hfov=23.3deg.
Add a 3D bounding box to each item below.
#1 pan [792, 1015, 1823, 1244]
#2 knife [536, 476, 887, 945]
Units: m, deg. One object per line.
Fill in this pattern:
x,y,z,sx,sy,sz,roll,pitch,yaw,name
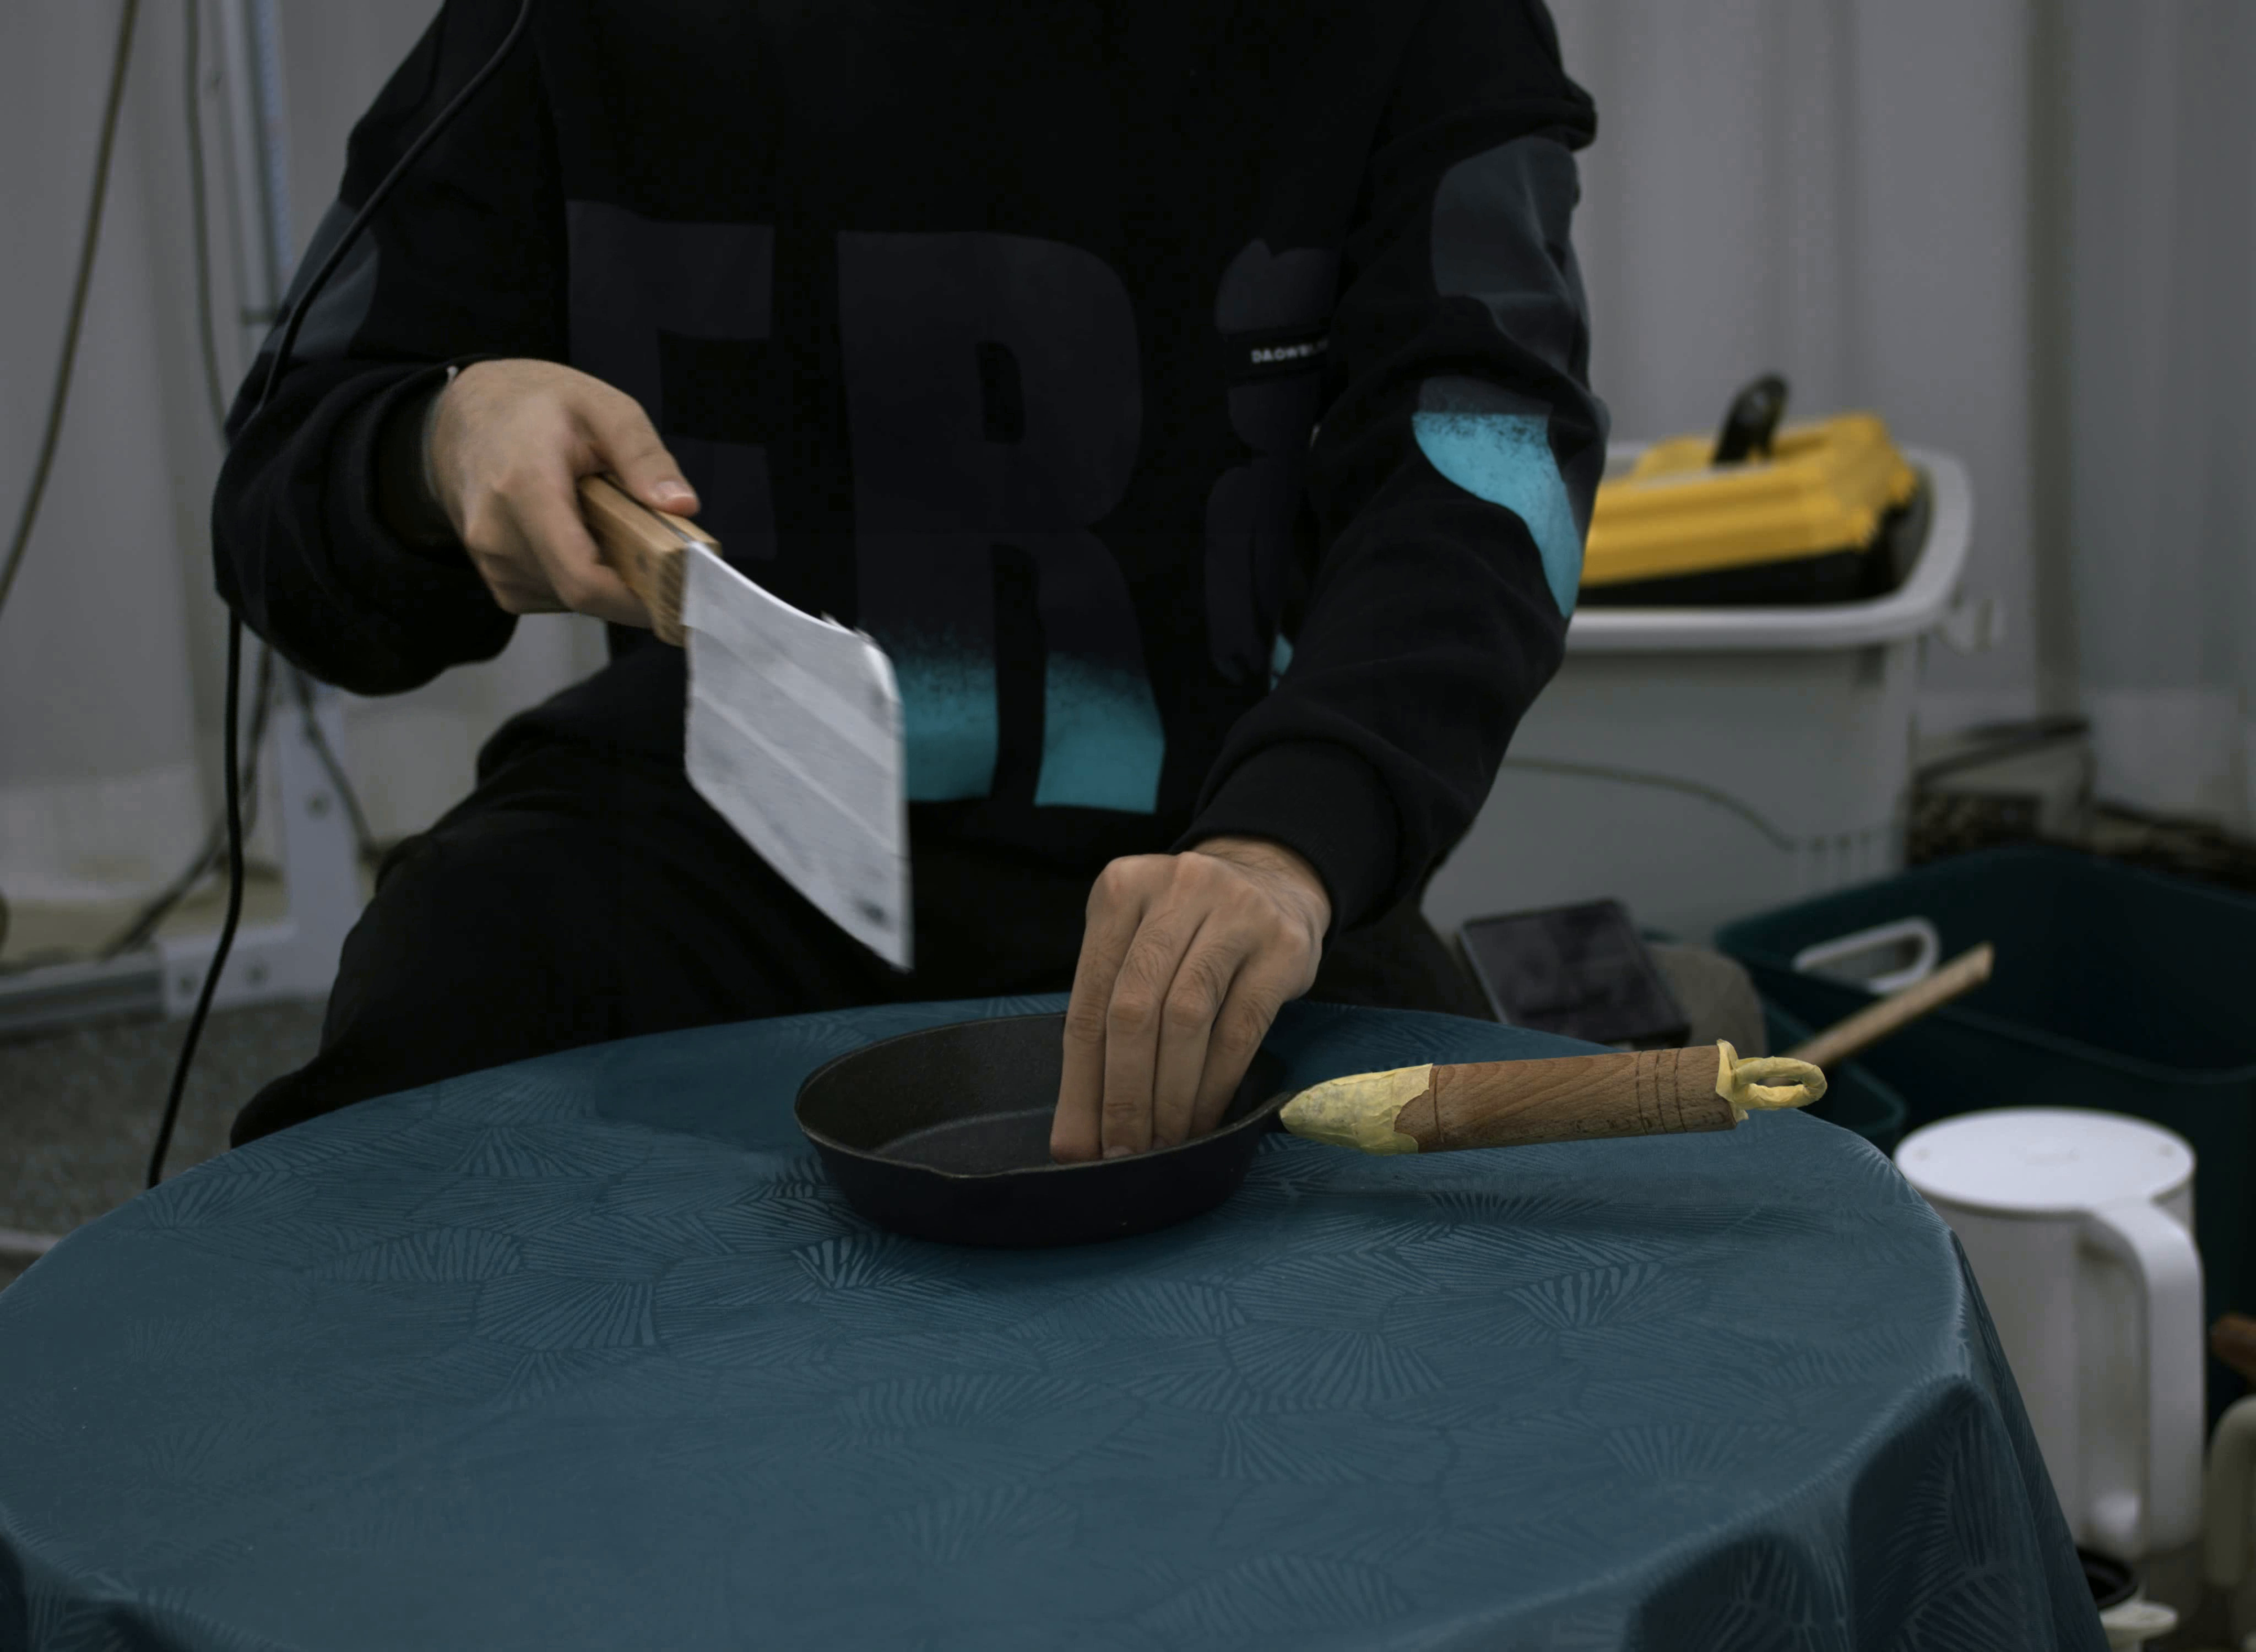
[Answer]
0.054,0.091,1.696,0.324,0.049,0.169,0,14,16,pan
-0.133,-0.055,1.765,0.021,0.113,0.319,-6,23,-23,knife
